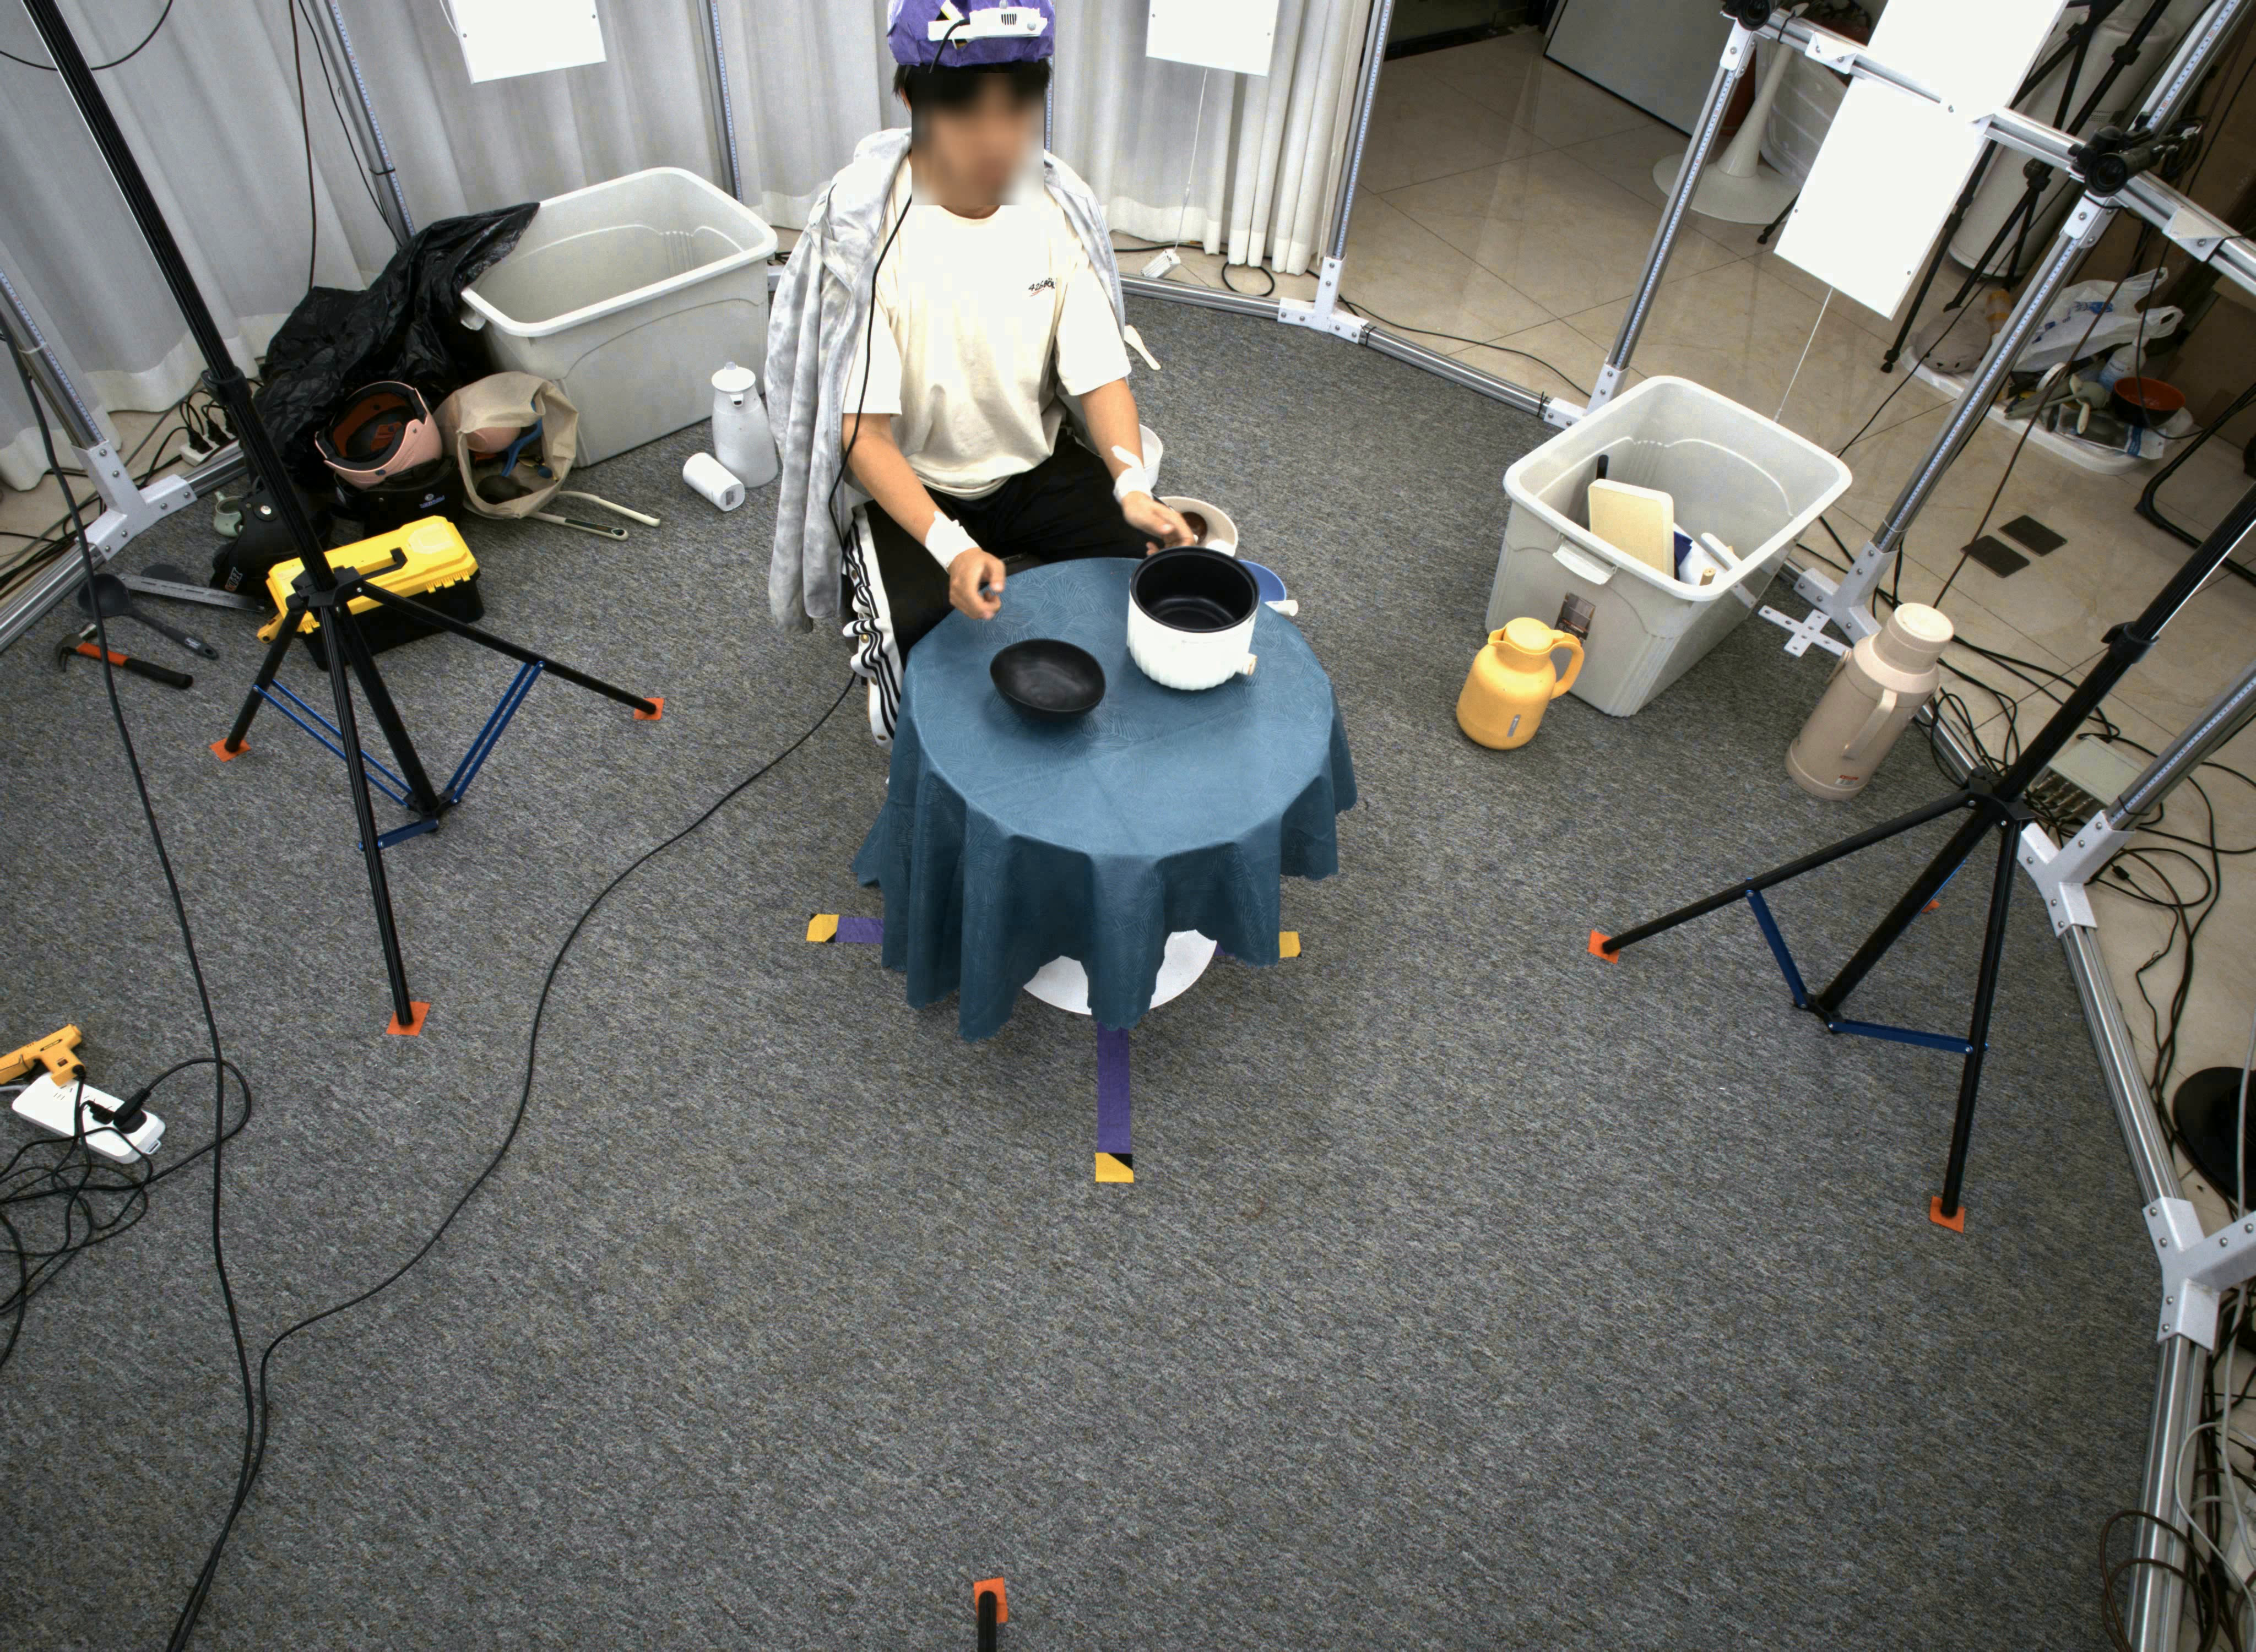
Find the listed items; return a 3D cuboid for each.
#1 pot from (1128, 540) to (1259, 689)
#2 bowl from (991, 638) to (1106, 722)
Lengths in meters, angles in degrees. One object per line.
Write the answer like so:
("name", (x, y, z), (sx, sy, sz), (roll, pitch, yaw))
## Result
("pot", (0.095, -0.289, 1.829), (0.191, 0.139, 0.245), (17, 50, 15))
("bowl", (-0.112, -0.191, 1.777), (0.172, 0.065, 0.139), (26, 51, 19))
